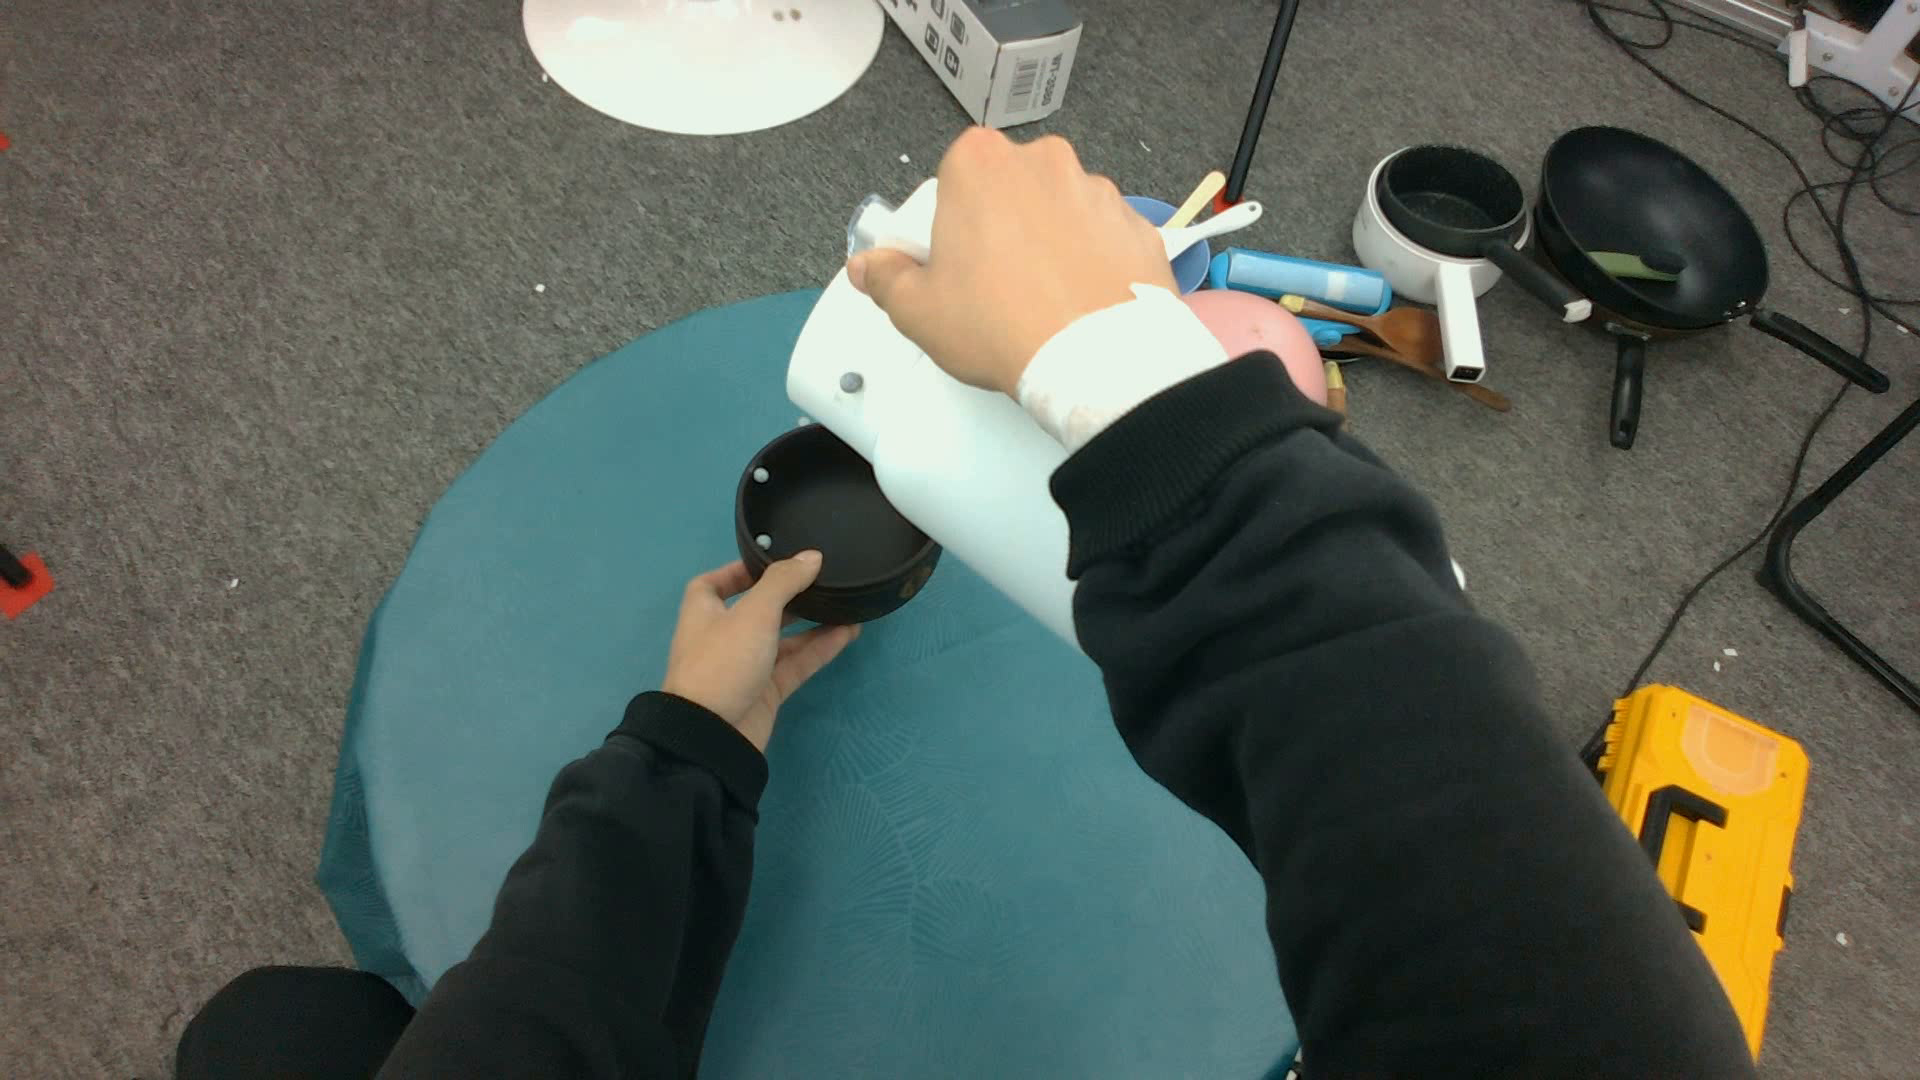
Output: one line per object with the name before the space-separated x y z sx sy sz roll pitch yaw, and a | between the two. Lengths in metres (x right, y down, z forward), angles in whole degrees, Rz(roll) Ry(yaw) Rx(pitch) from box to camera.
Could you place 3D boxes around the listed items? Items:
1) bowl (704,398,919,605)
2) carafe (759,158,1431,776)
bowl | -0.082 -0.015 0.770 0.118 0.069 0.118 4 56 -5
carafe | 0.054 -0.035 0.552 0.269 0.172 0.124 39 66 8
